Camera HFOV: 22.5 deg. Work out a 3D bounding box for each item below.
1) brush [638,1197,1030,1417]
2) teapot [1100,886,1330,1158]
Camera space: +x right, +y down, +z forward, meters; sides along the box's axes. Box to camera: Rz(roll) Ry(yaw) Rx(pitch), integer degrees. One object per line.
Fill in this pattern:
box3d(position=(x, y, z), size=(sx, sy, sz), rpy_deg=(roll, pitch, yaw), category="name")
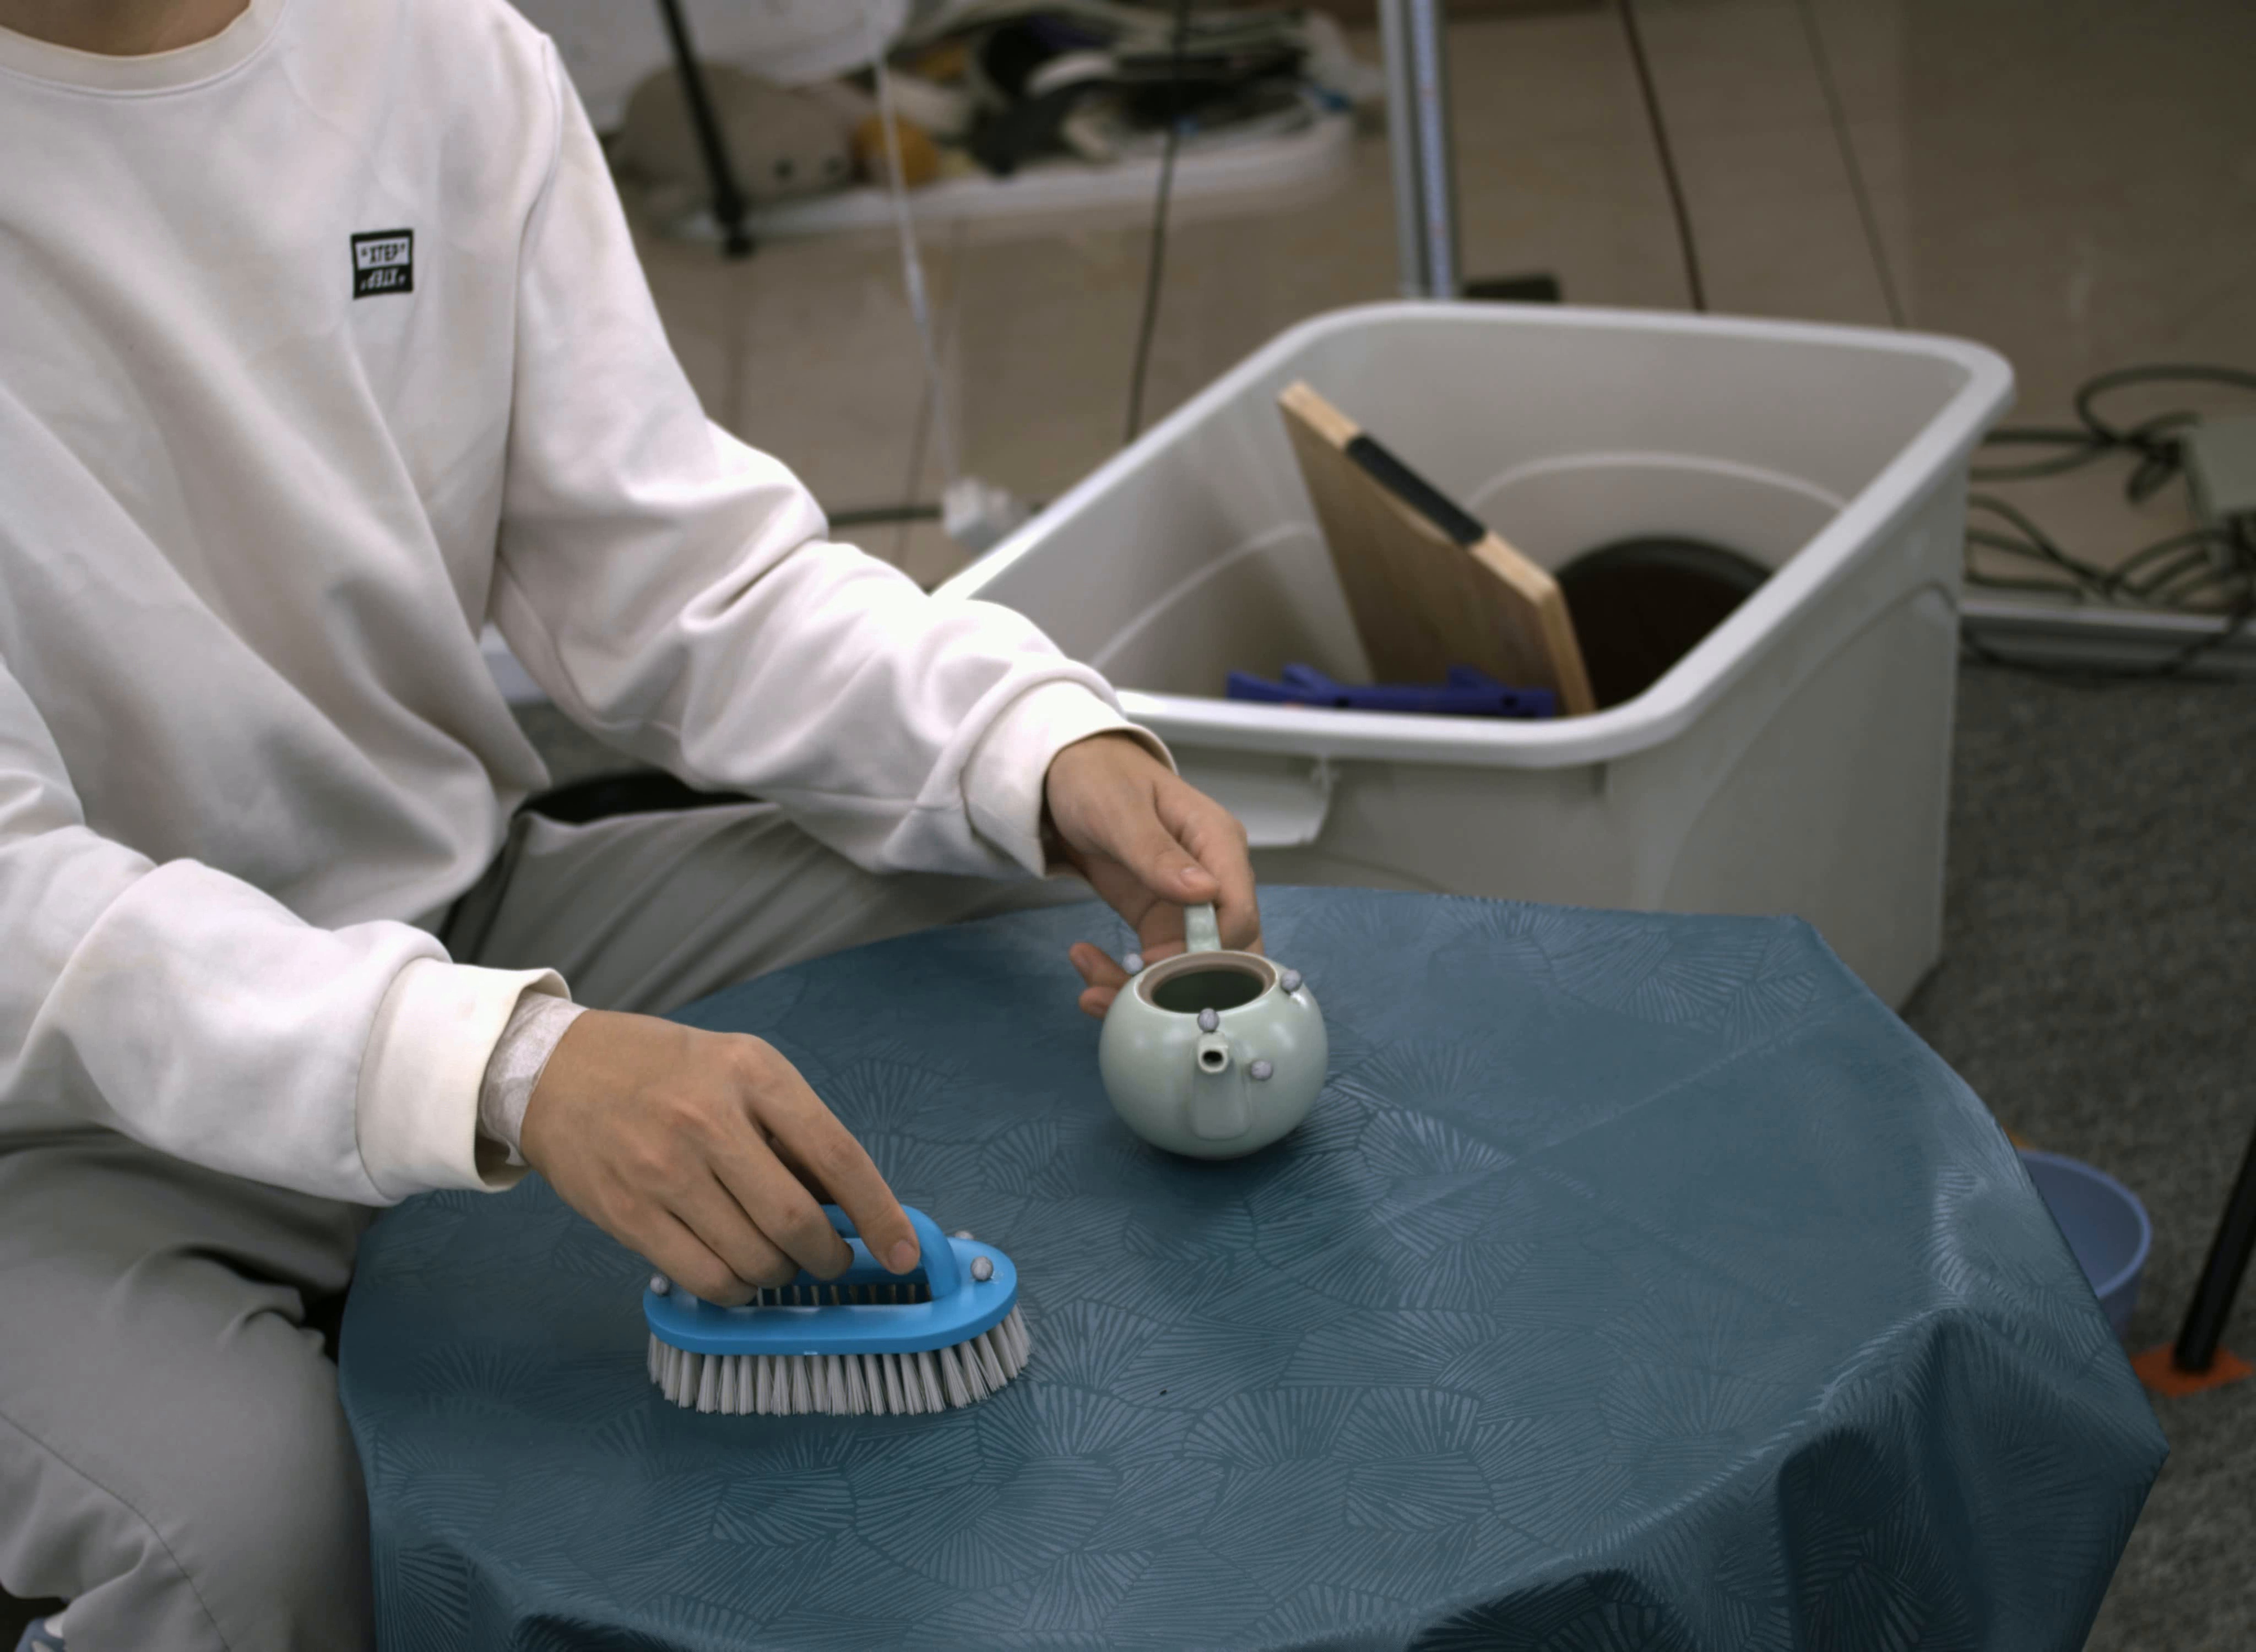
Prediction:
box3d(position=(-0.109, 0.164, 2.039), size=(0.141, 0.065, 0.083), rpy_deg=(-1, 30, 12), category="brush")
box3d(position=(0.033, 0.085, 2.167), size=(0.088, 0.076, 0.141), rpy_deg=(-6, 28, 3), category="teapot")
